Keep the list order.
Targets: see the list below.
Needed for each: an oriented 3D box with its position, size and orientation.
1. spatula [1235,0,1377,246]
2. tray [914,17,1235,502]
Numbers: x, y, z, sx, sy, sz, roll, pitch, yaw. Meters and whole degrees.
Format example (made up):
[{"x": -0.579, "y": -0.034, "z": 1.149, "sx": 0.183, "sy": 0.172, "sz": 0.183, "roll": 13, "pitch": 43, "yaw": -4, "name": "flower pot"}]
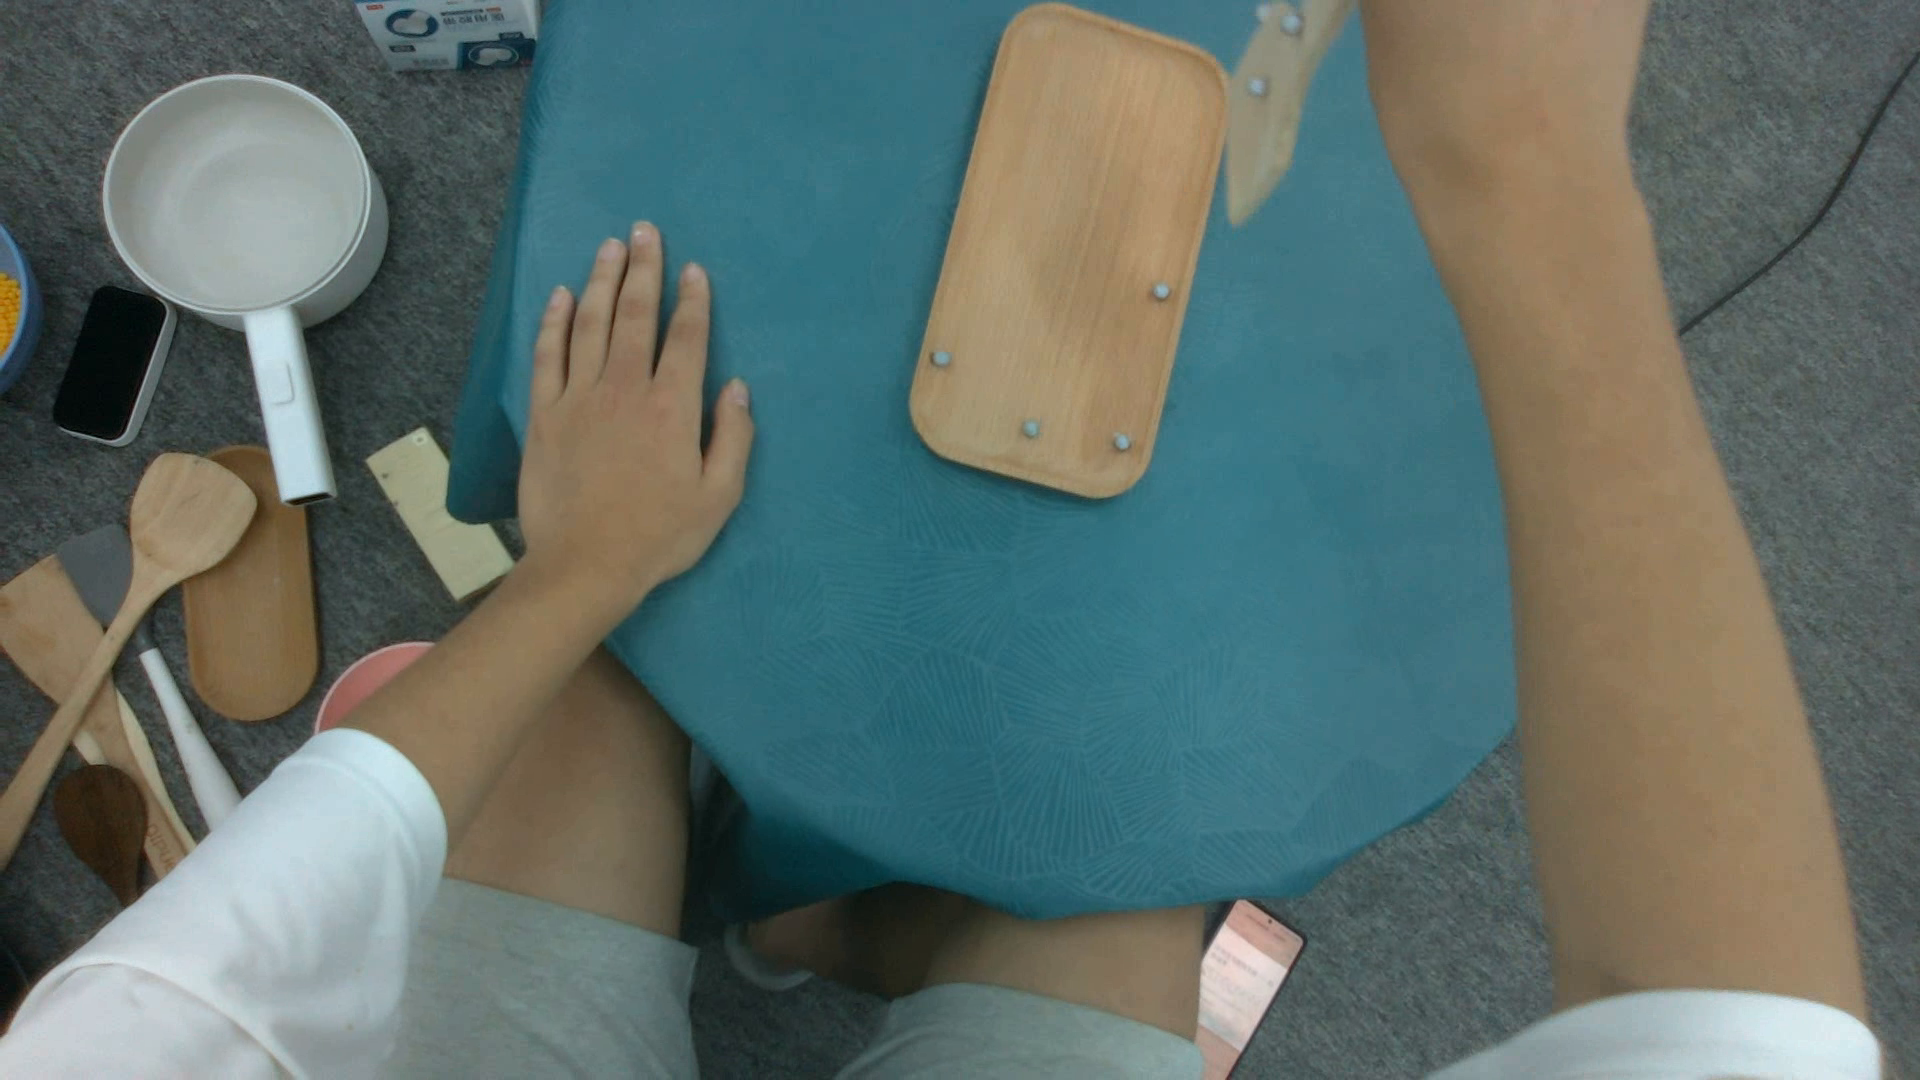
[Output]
[{"x": 0.135, "y": -0.186, "z": 0.515, "sx": 0.010, "sy": 0.293, "sz": 0.072, "roll": 2, "pitch": 85, "yaw": 1, "name": "spatula"}, {"x": 0.062, "y": -0.149, "z": 0.726, "sx": 0.130, "sy": 0.023, "sz": 0.251, "roll": 16, "pitch": 80, "yaw": -8, "name": "tray"}]
